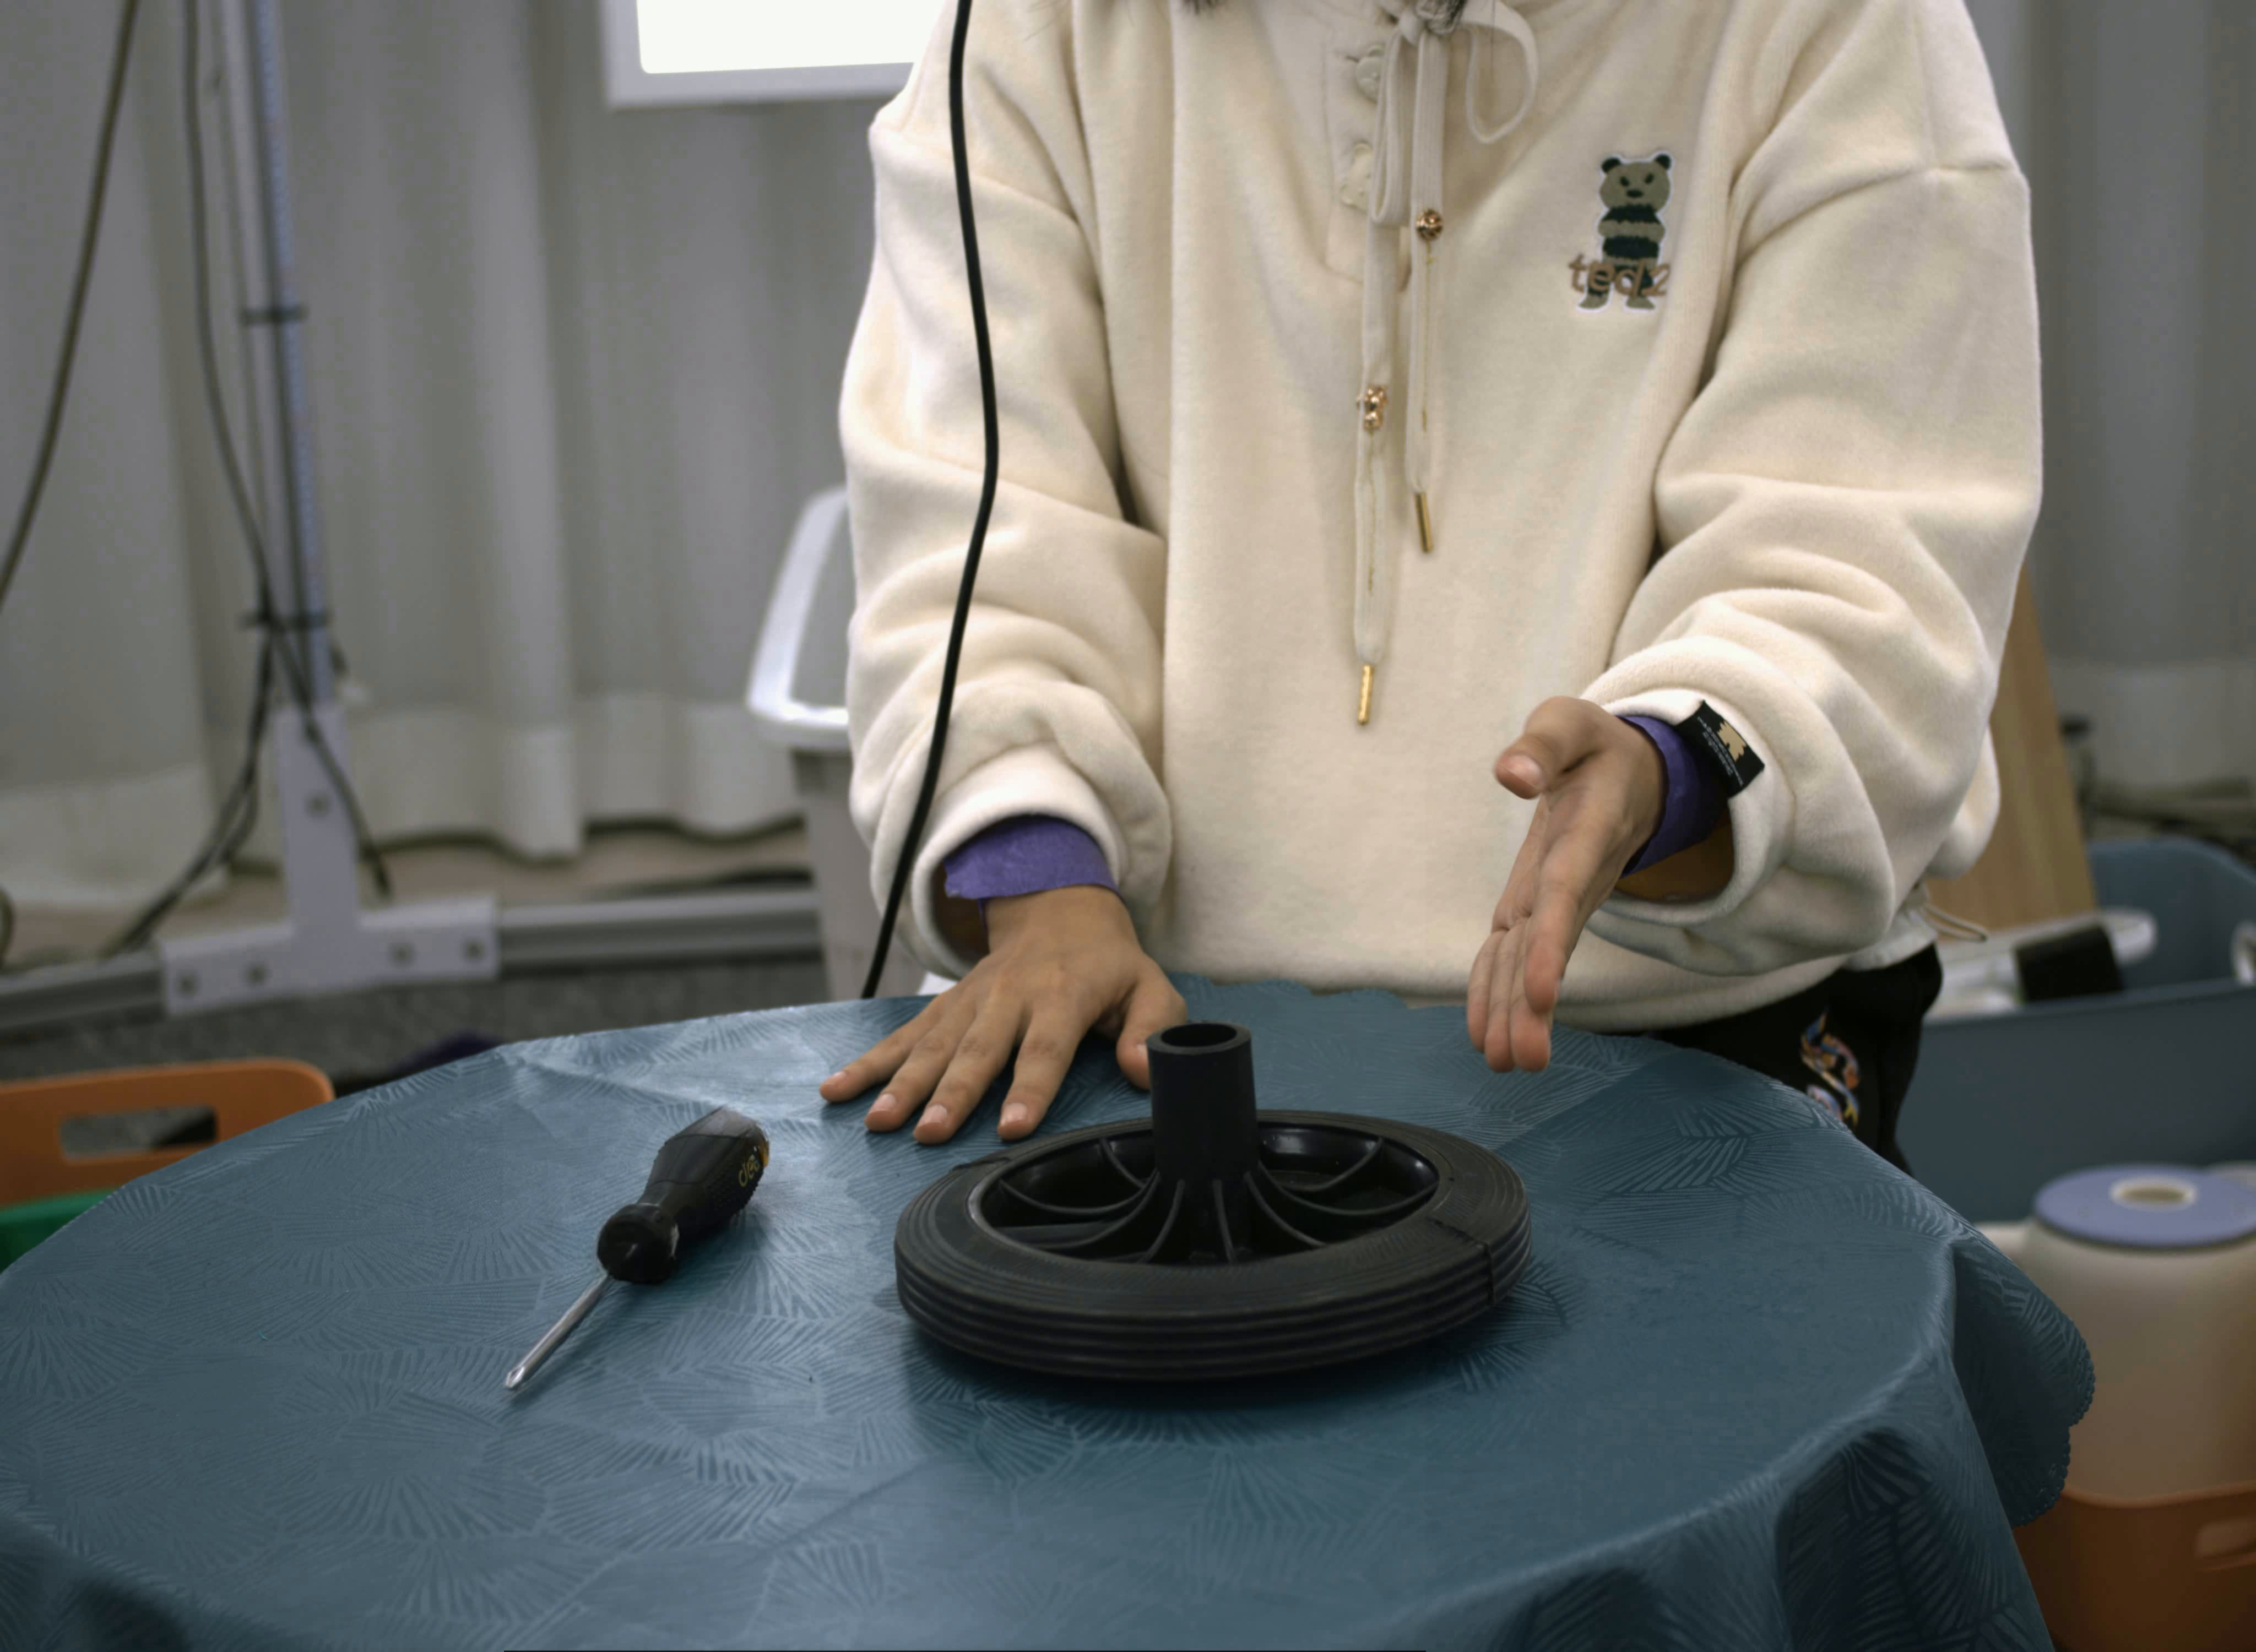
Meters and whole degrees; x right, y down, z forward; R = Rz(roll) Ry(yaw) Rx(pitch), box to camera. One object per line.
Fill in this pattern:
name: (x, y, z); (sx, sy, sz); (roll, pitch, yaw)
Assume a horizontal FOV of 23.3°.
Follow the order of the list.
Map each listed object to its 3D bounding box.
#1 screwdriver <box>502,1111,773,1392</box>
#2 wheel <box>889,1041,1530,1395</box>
screwdriver: (-0.146, 0.128, 1.644); (0.031, 0.031, 0.197); (1, 17, 14)
wheel: (0.022, 0.105, 1.603); (0.189, 0.079, 0.189); (-10, 15, -20)
